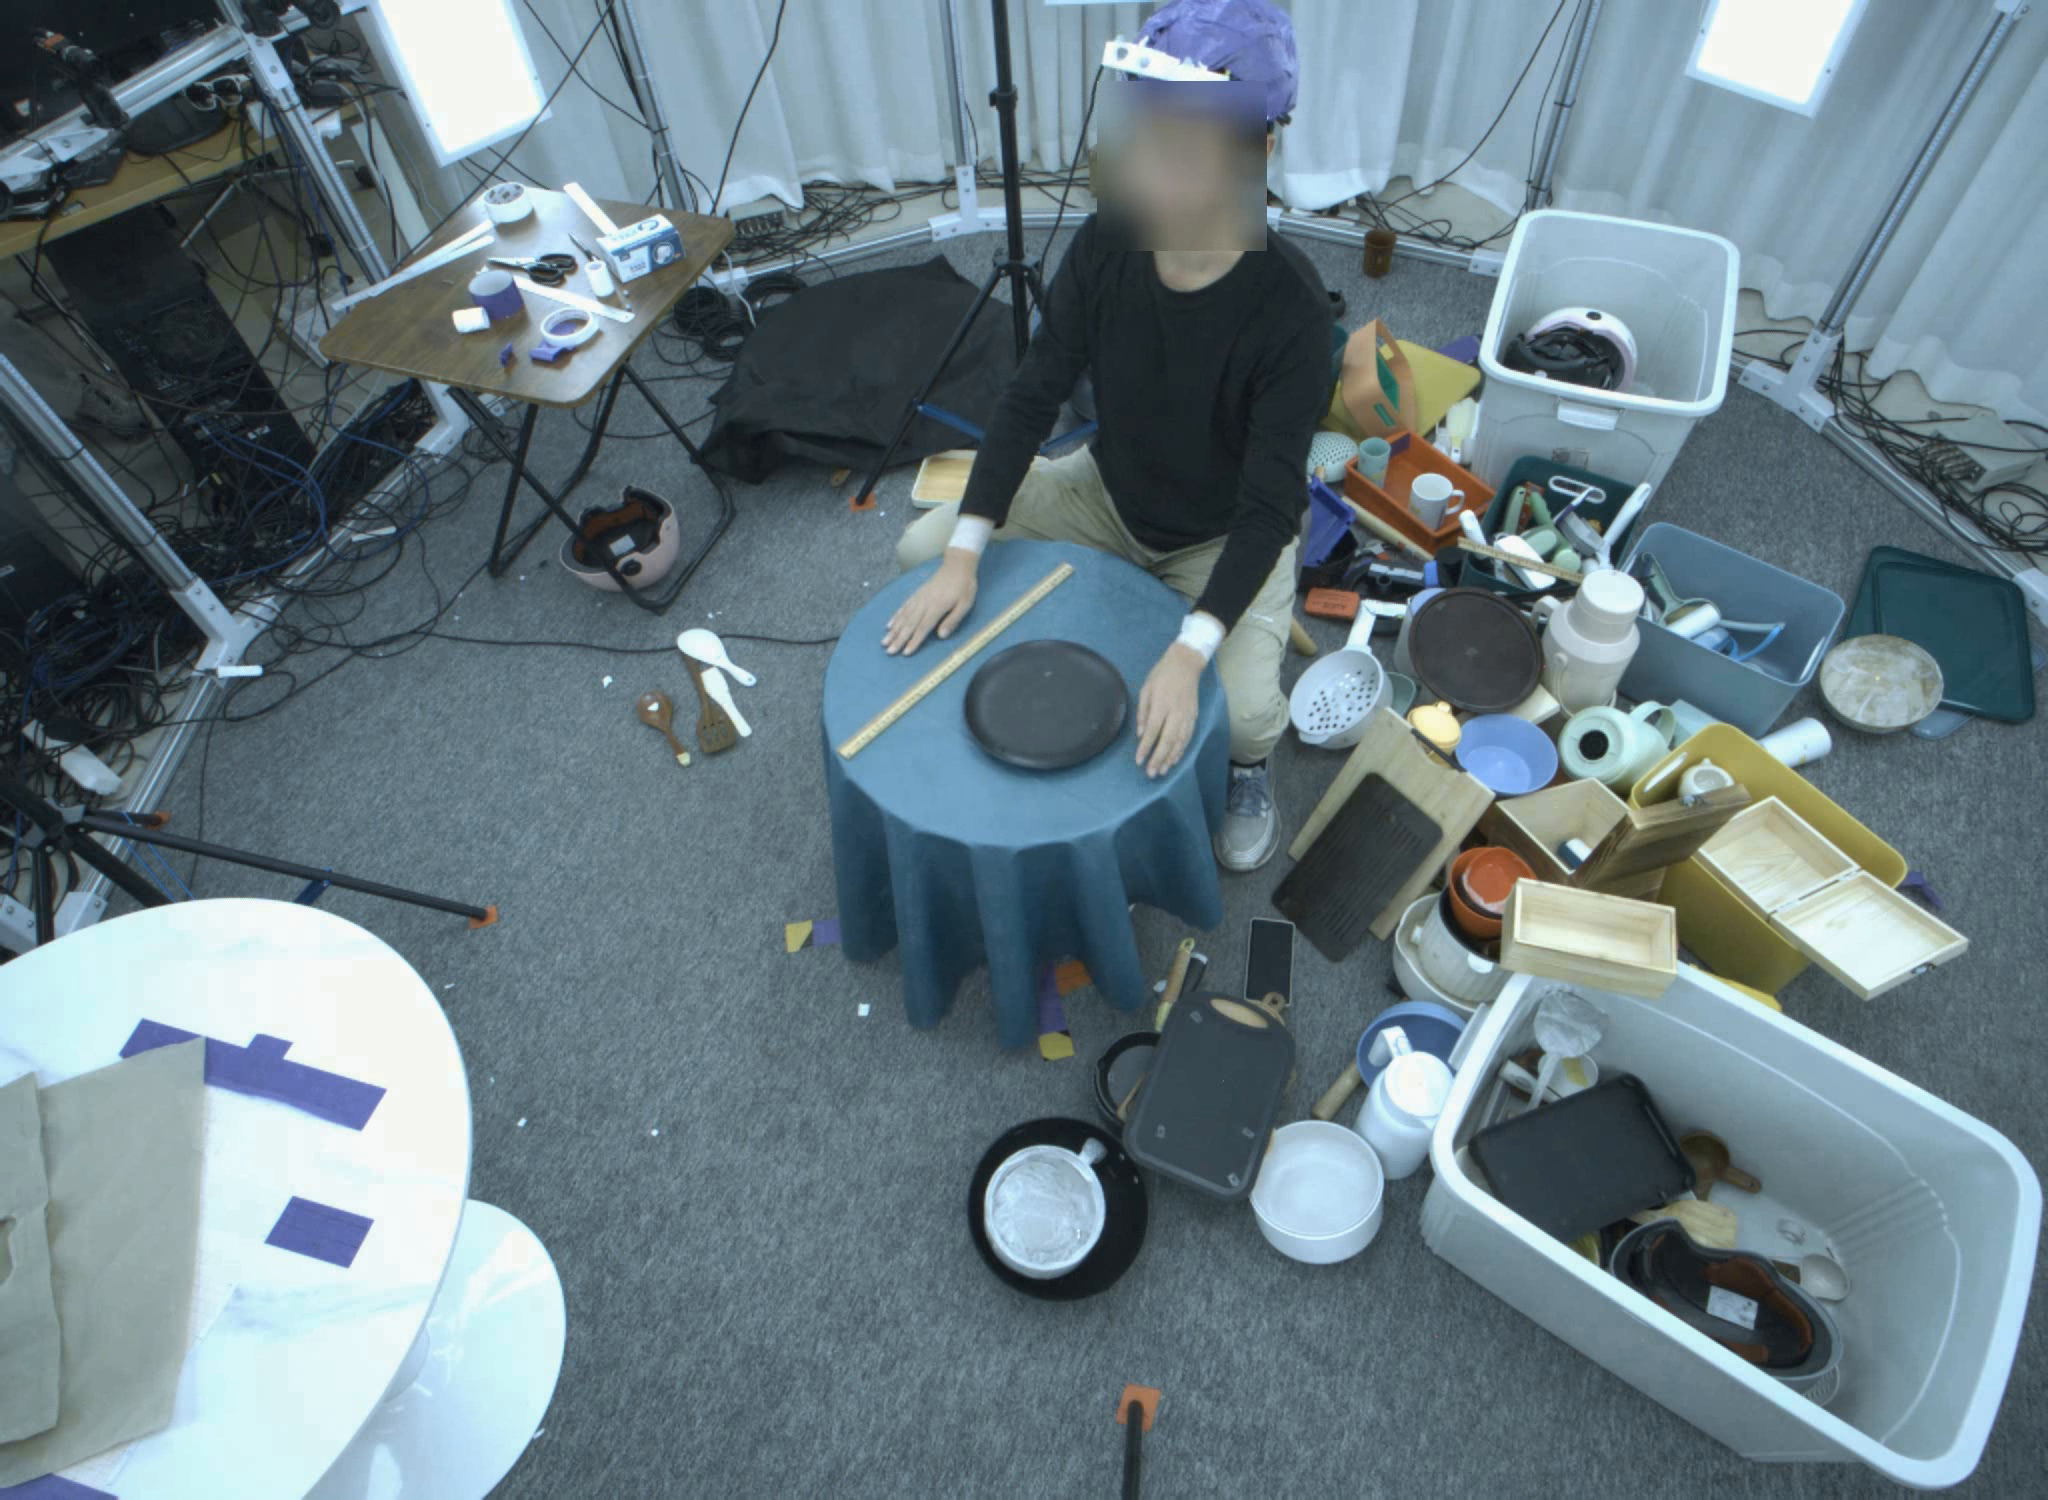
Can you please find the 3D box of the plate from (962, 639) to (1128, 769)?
[{"bbox_3d":[0.031,-0.066,1.819,0.244,0.024,0.242,0,55,2],"label":"plate"}]

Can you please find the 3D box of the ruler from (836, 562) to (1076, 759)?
[{"bbox_3d":[-0.096,-0.146,1.891,0.026,0.006,0.504,38,64,23],"label":"ruler"}]
